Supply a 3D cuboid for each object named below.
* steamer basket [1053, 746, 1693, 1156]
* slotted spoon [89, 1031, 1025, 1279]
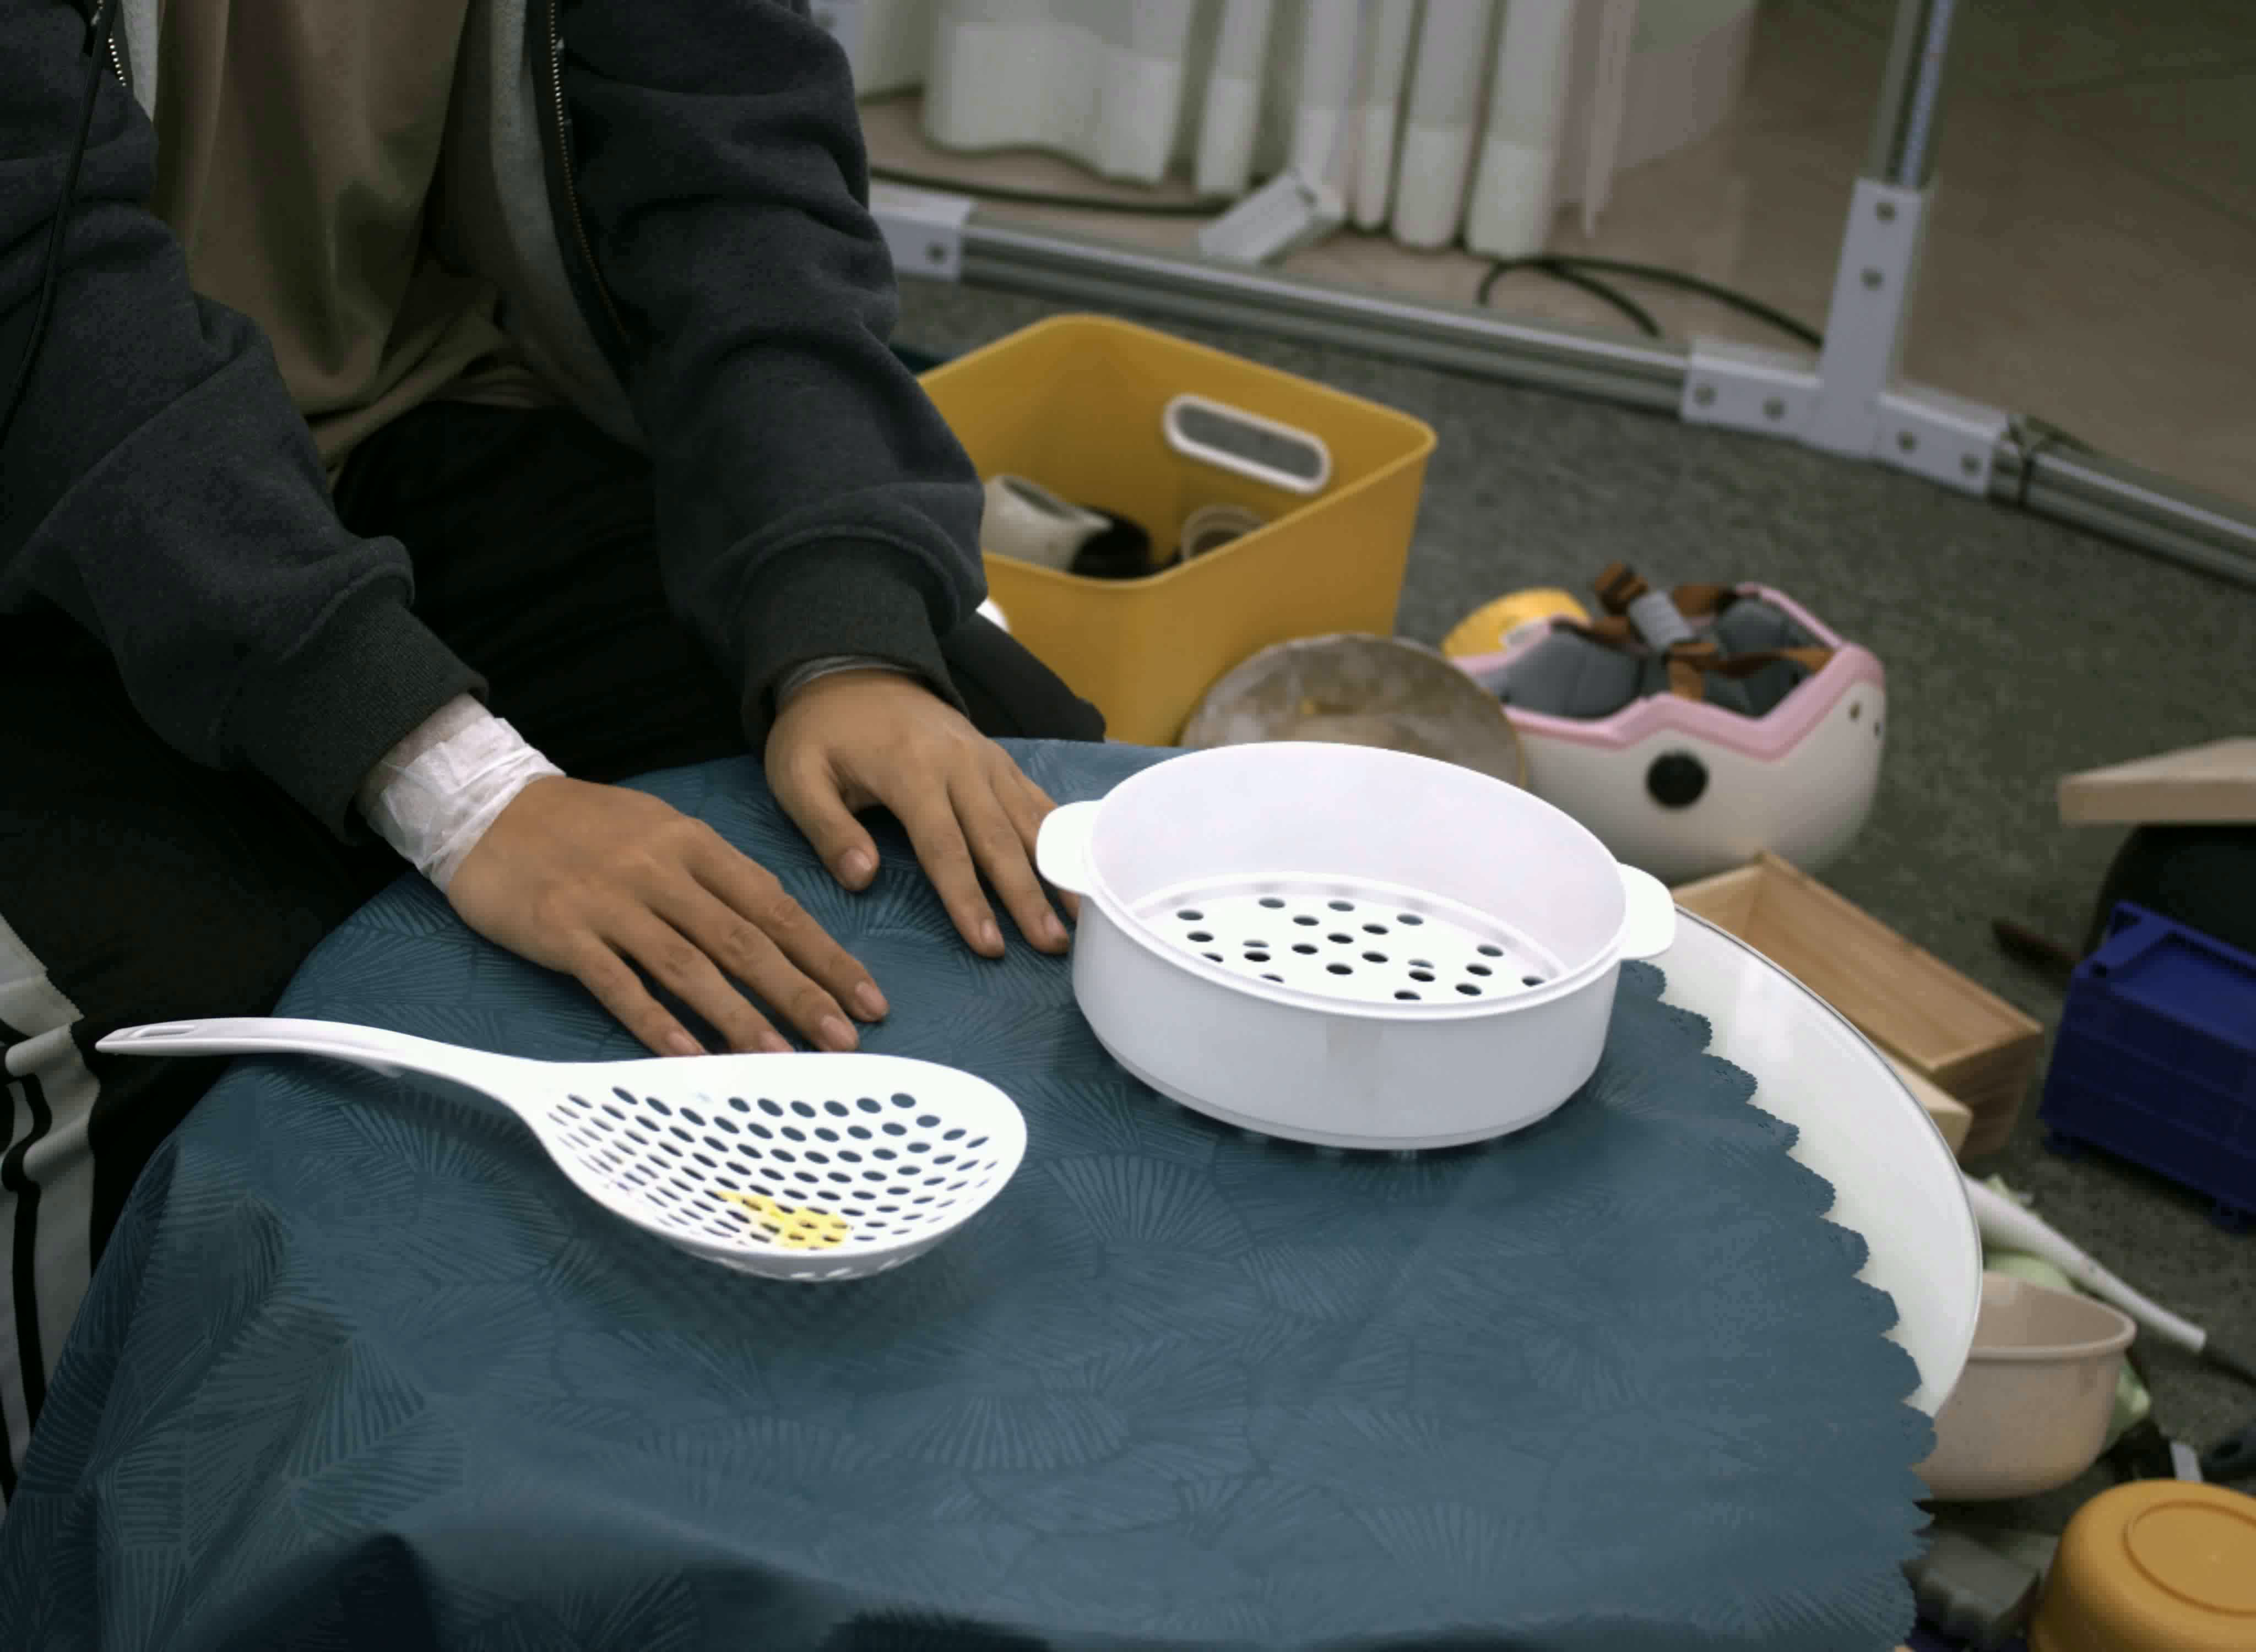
[{"bbox_3d":[0.083,0.044,1.902,0.230,0.069,0.203,8,26,-1],"label":"steamer basket"},{"bbox_3d":[-0.200,0.097,1.782,0.349,0.050,0.137,13,32,23],"label":"slotted spoon"}]
